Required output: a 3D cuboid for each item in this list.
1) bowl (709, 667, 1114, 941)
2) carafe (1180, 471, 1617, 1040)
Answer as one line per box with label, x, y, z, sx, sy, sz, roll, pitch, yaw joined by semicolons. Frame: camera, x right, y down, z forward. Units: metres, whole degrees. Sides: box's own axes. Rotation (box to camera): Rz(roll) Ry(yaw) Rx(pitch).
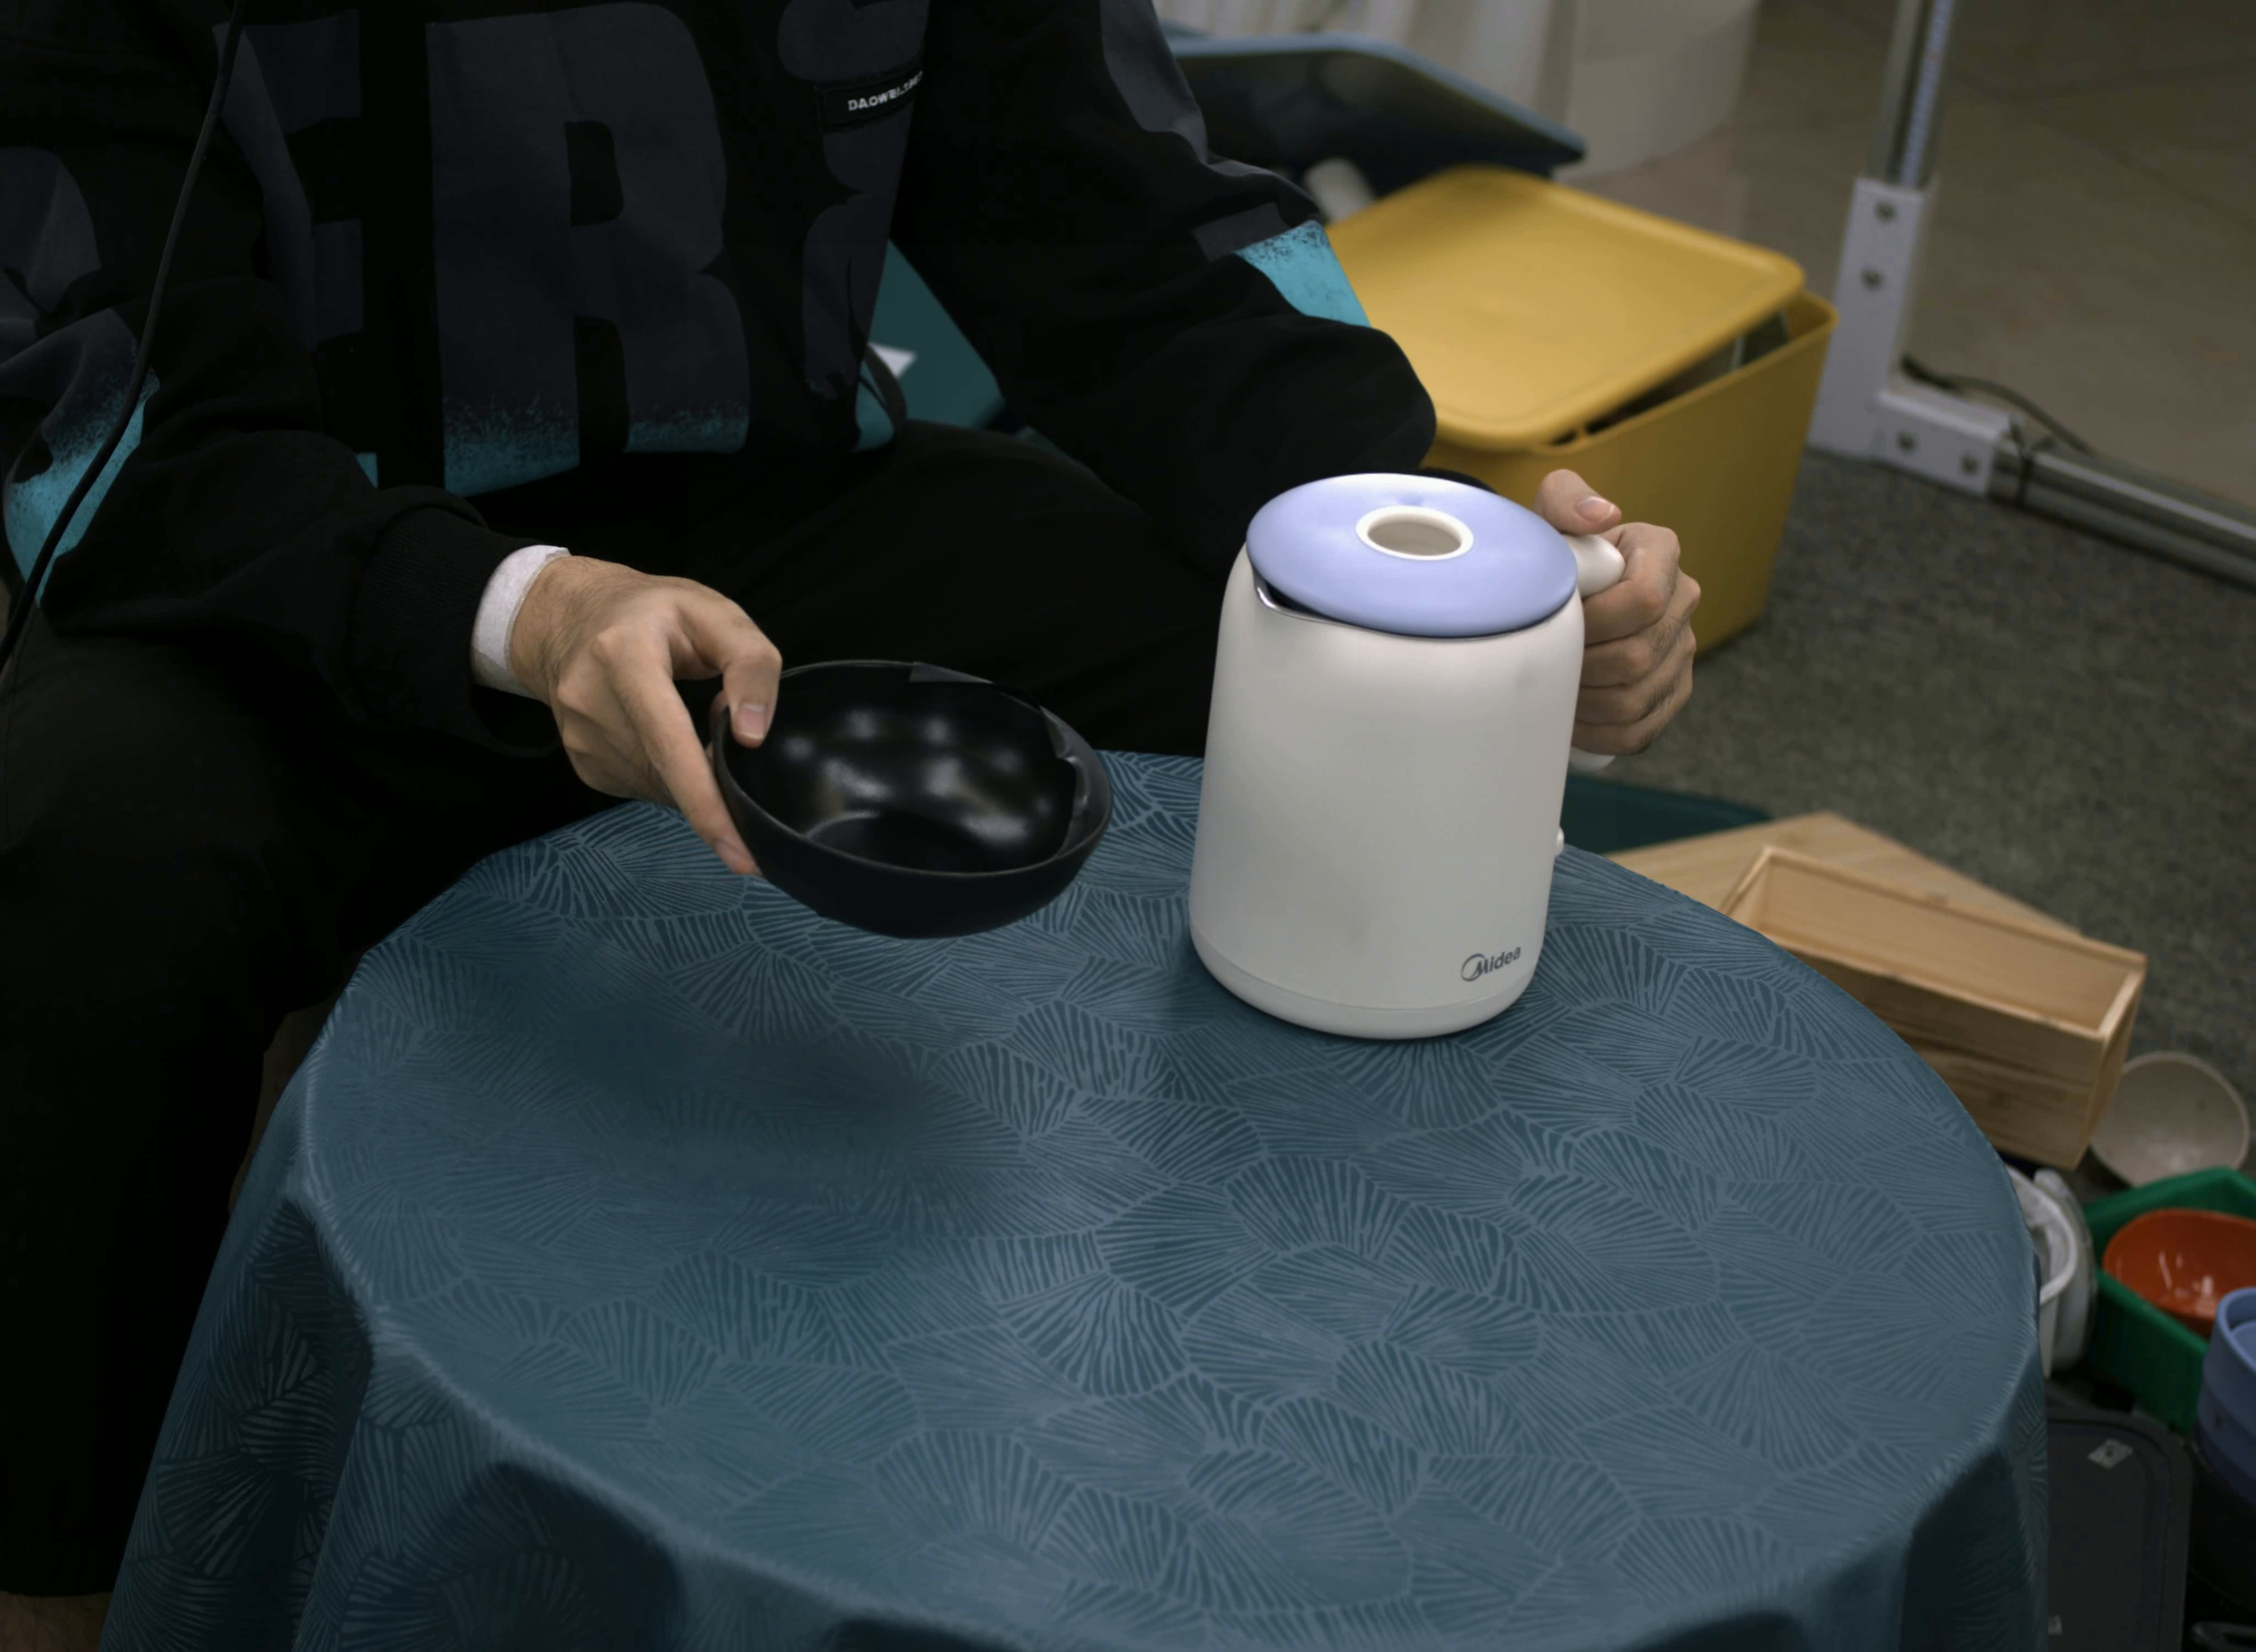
bowl;-0.076;0.000;1.819;0.139;0.049;0.141;7;29;-4
carafe;0.110;-0.031;1.936;0.190;0.182;0.133;-17;36;-40
